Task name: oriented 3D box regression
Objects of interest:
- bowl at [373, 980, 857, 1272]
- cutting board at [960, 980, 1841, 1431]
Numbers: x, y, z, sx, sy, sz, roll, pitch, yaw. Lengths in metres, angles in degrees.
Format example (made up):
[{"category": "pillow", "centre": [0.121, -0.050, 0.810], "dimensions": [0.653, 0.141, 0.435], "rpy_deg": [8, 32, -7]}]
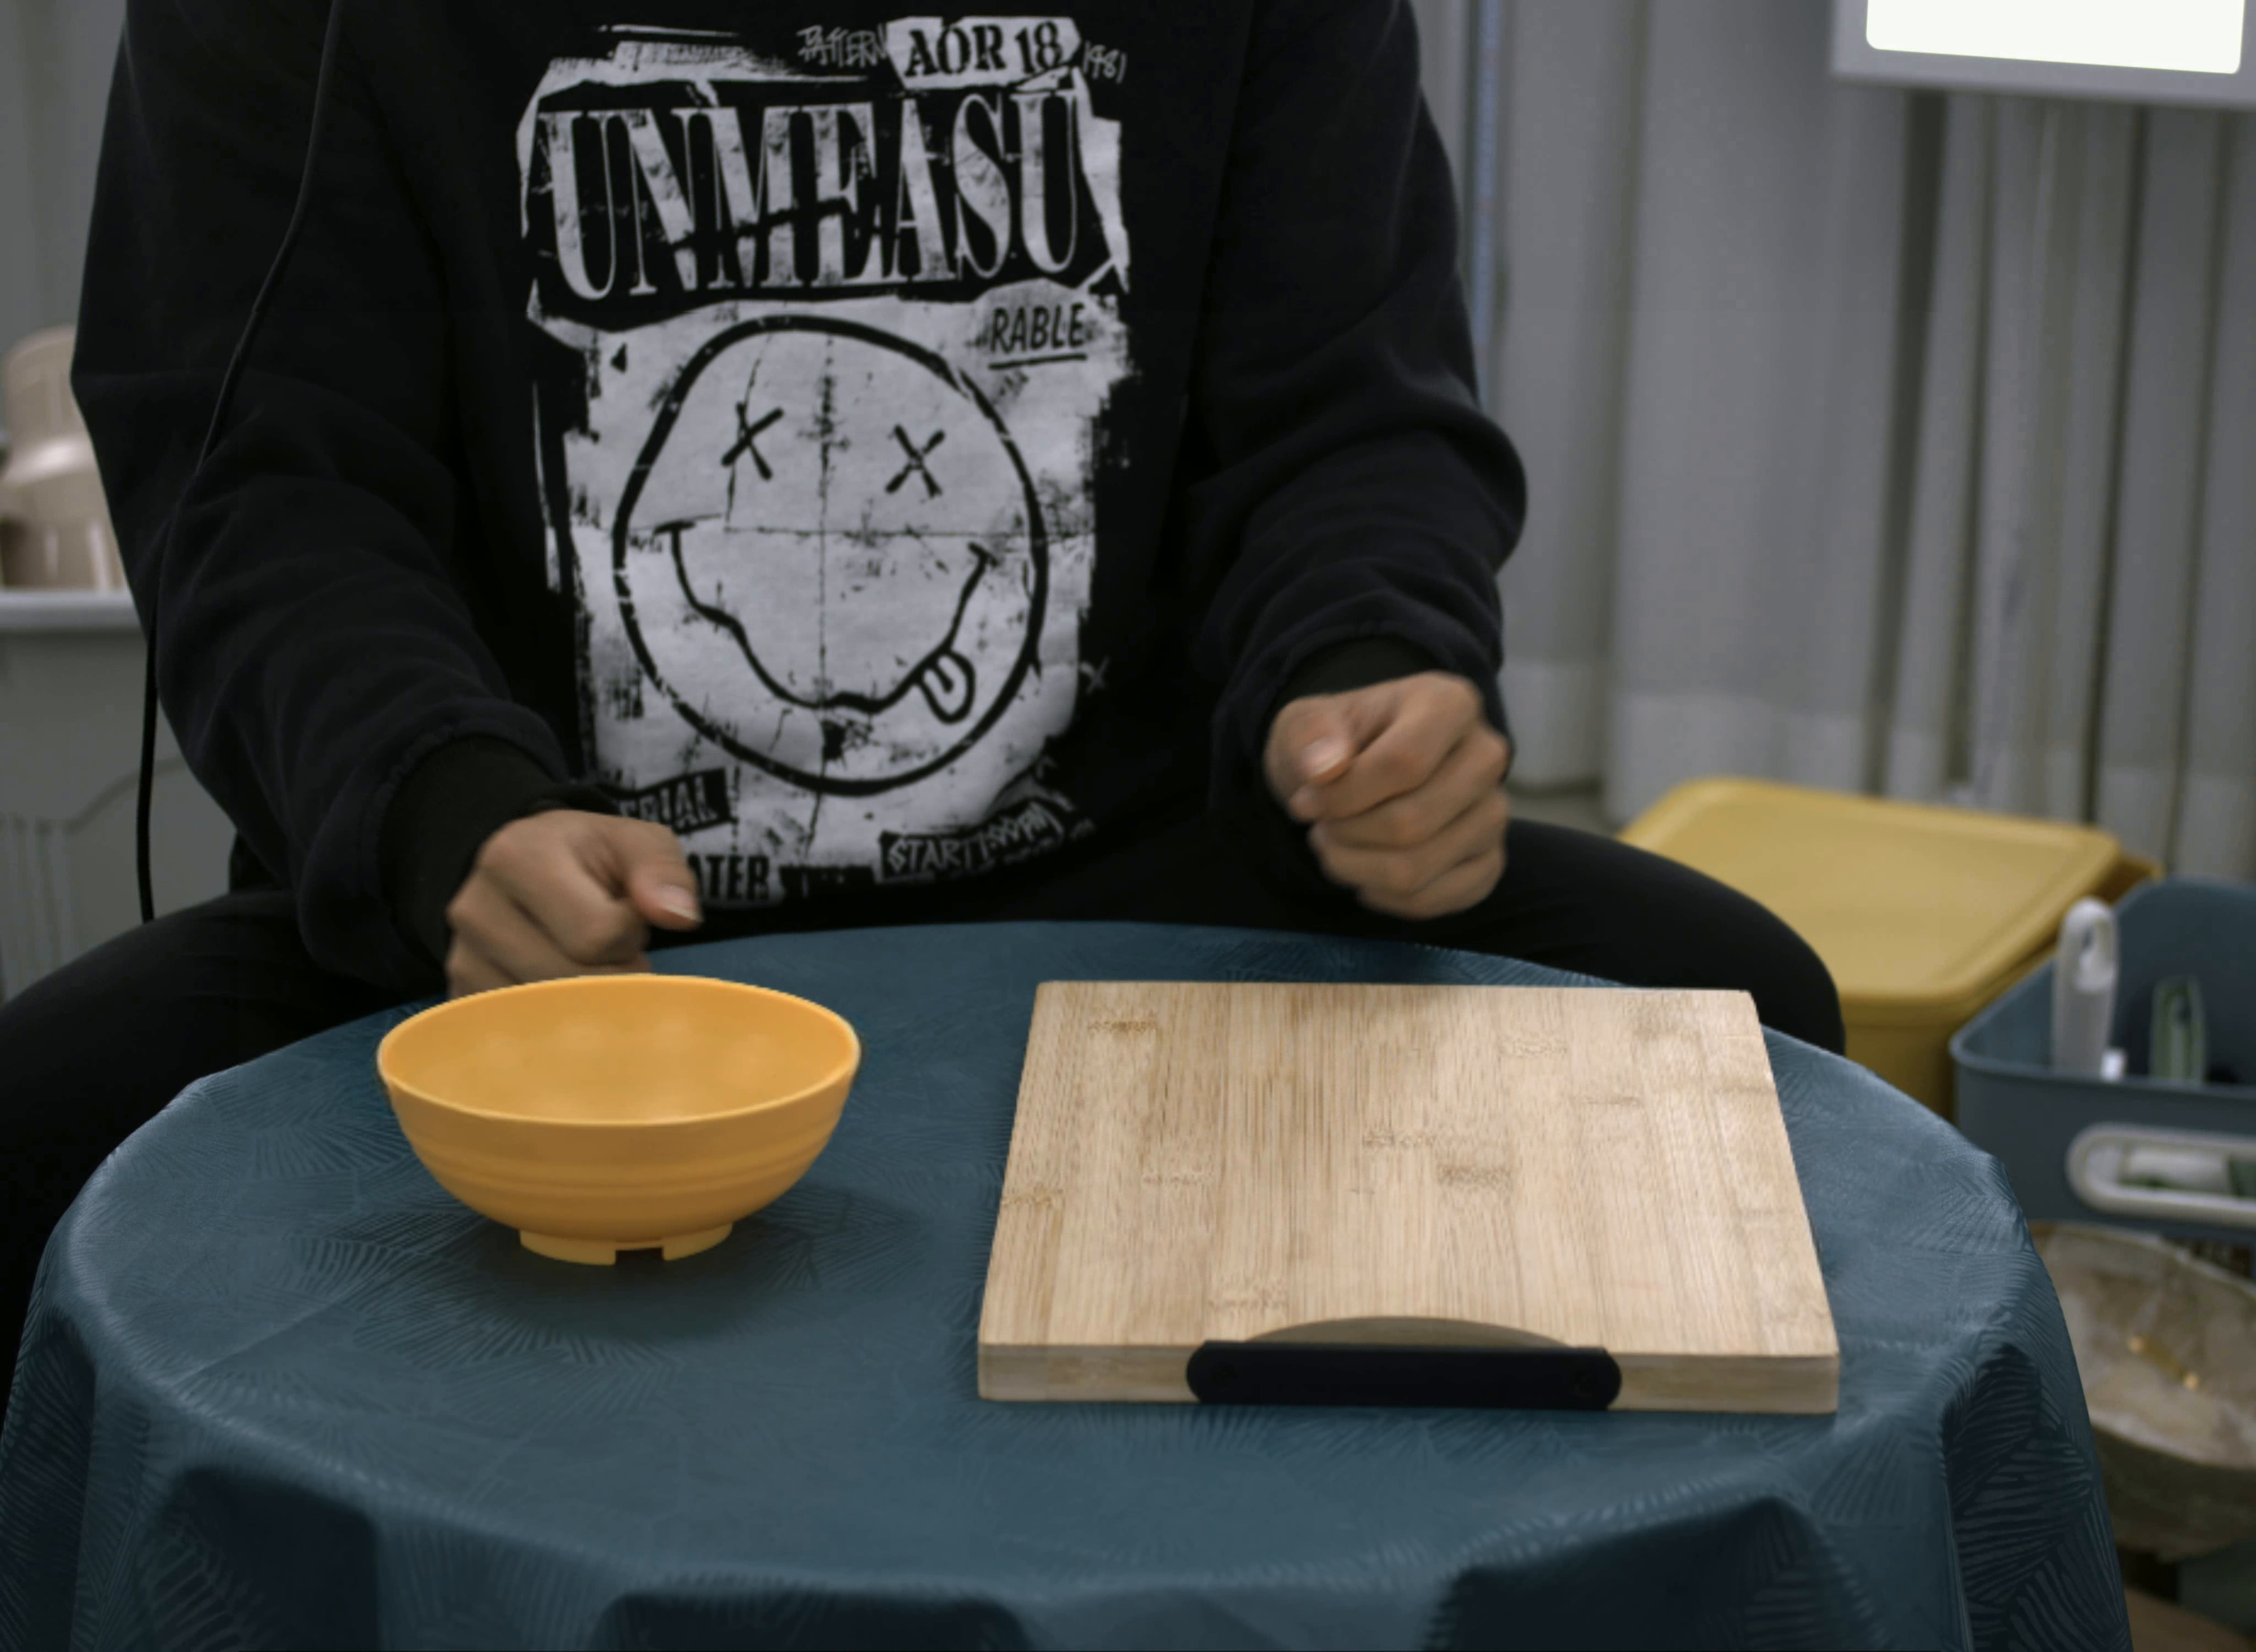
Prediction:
[{"category": "bowl", "centre": [-0.154, 0.095, 1.580], "dimensions": [0.145, 0.060, 0.144], "rpy_deg": [3, 15, 0]}, {"category": "cutting board", "centre": [0.082, 0.110, 1.610], "dimensions": [0.250, 0.024, 0.347], "rpy_deg": [1, 16, 1]}]
